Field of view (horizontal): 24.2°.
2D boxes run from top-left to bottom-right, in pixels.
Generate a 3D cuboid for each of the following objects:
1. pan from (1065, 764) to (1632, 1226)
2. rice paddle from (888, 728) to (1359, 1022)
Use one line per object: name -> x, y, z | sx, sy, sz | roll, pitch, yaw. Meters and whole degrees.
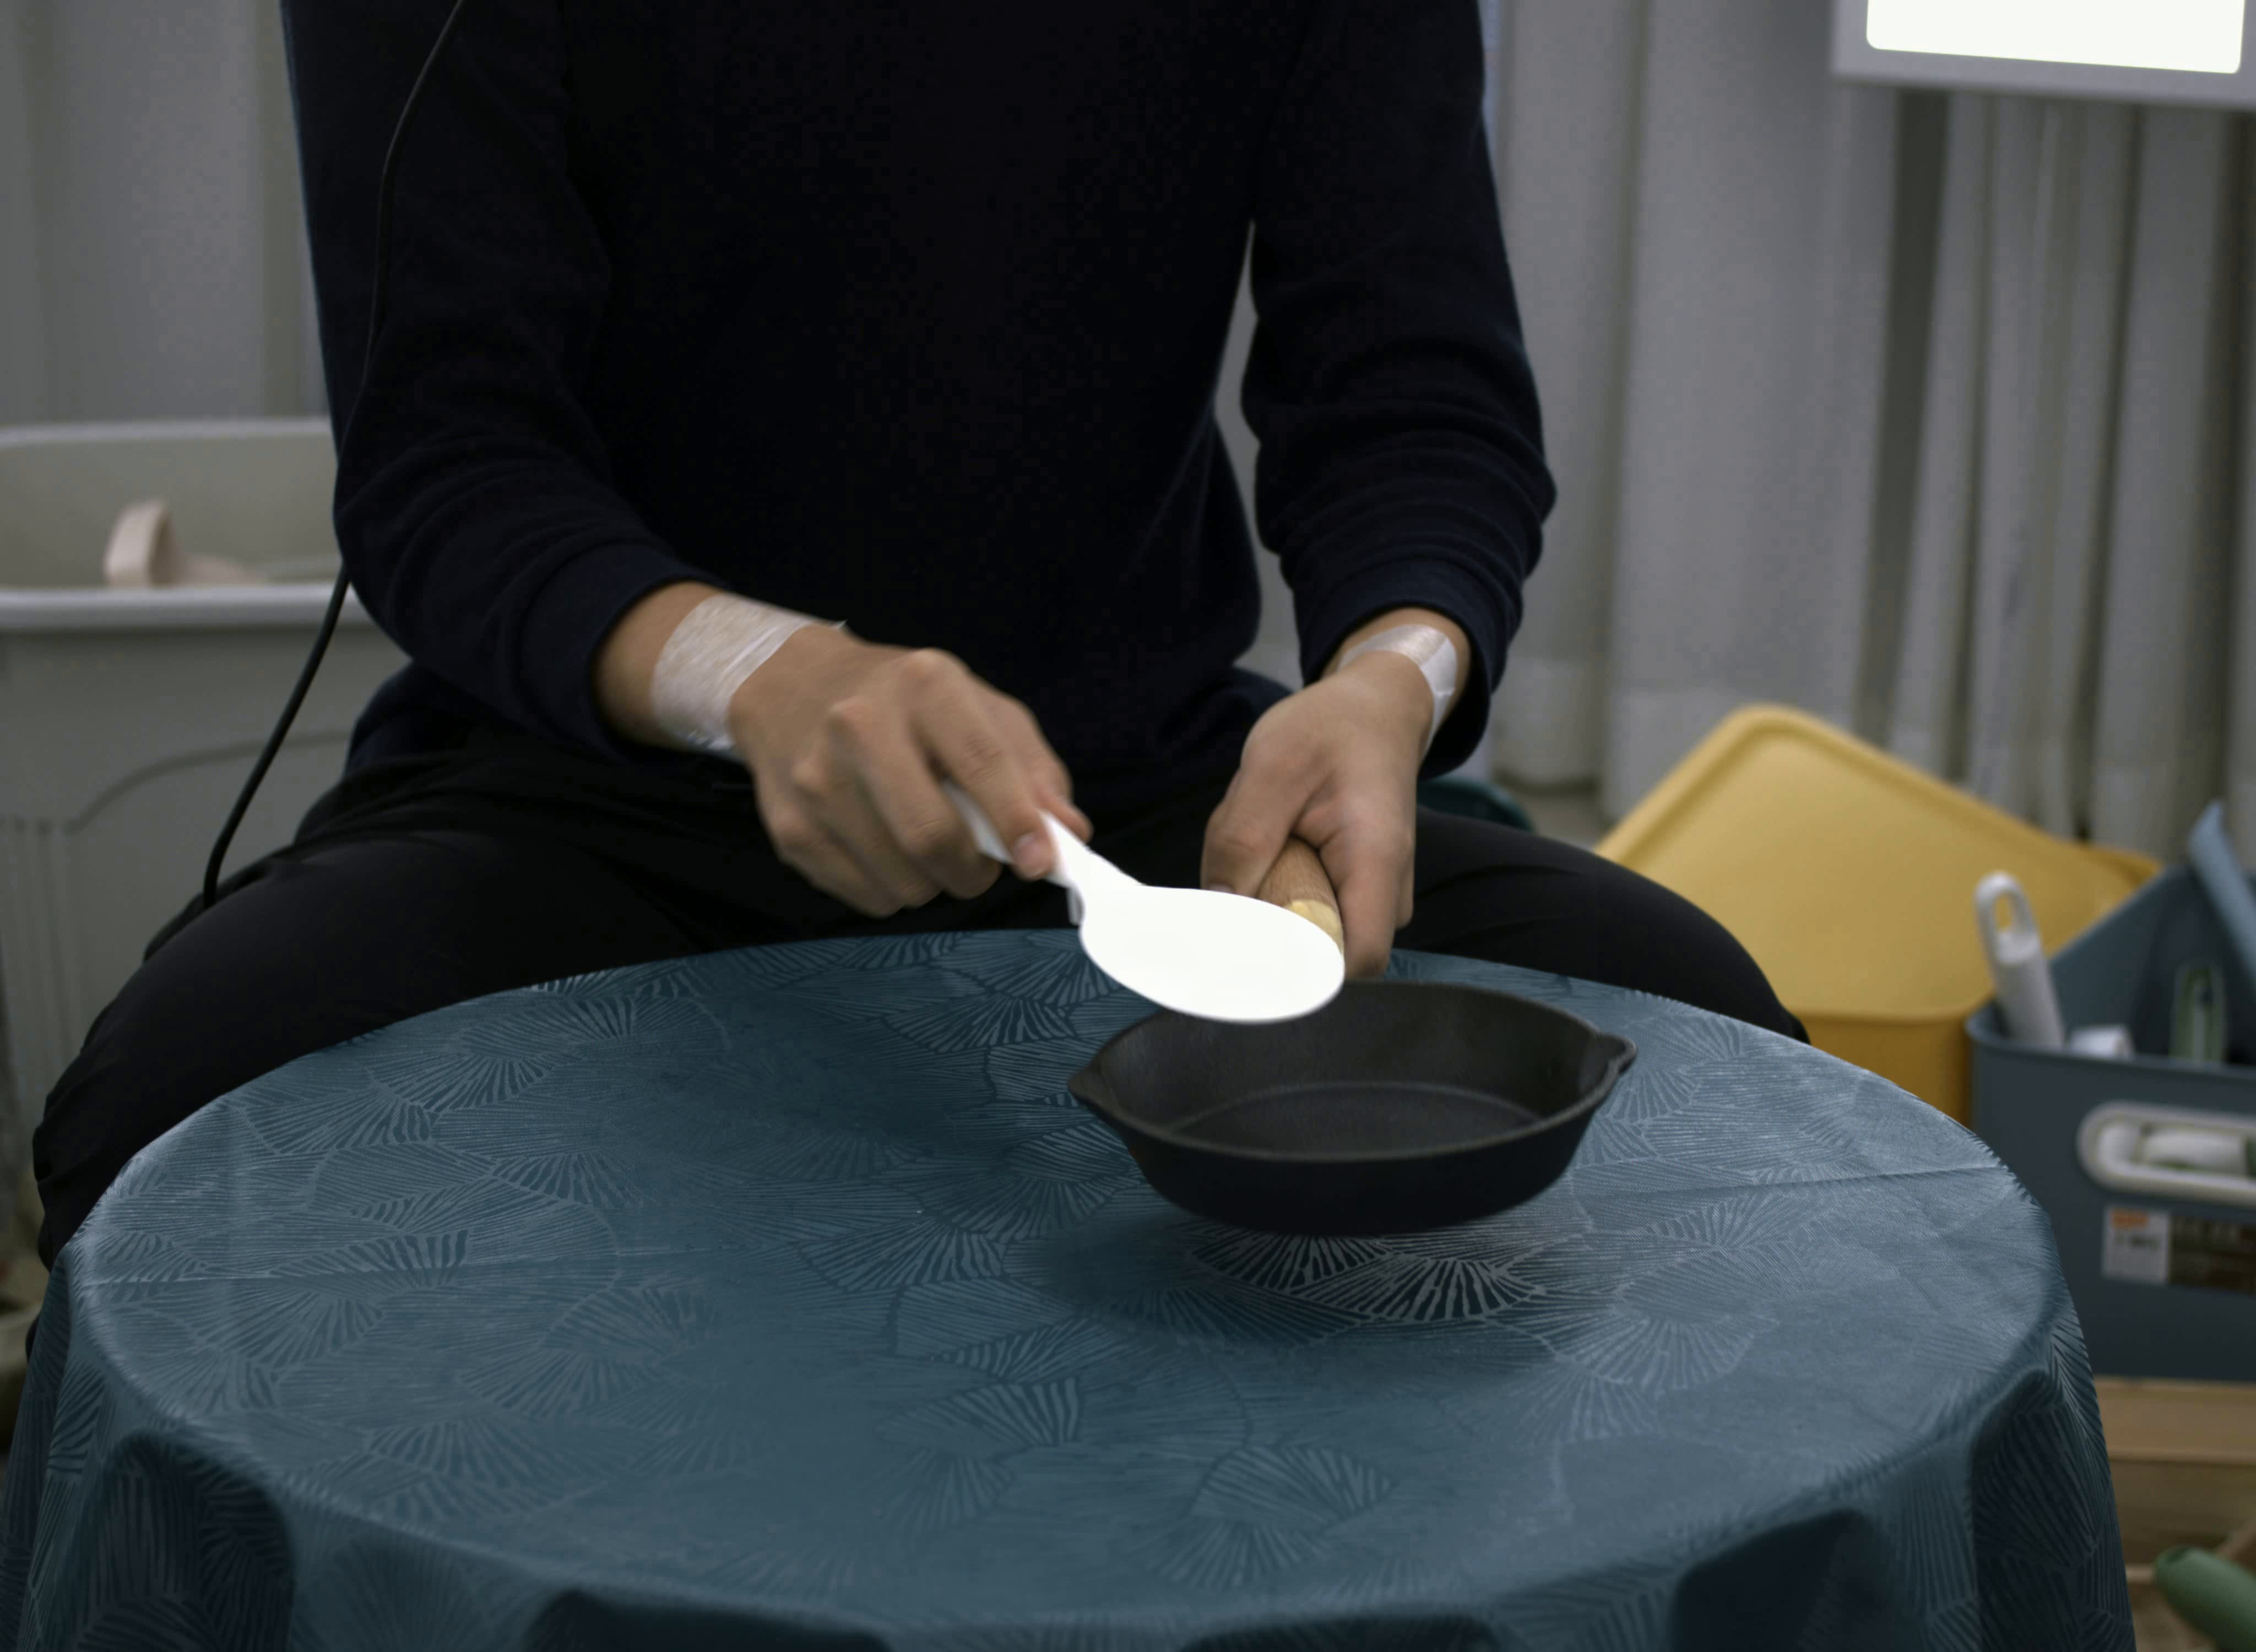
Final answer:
pan -> 0.061, 0.049, 1.637 | 0.168, 0.050, 0.322 | -3, 18, -3
rice paddle -> -0.004, 0.017, 1.616 | 0.069, 0.030, 0.202 | -20, 32, -32
